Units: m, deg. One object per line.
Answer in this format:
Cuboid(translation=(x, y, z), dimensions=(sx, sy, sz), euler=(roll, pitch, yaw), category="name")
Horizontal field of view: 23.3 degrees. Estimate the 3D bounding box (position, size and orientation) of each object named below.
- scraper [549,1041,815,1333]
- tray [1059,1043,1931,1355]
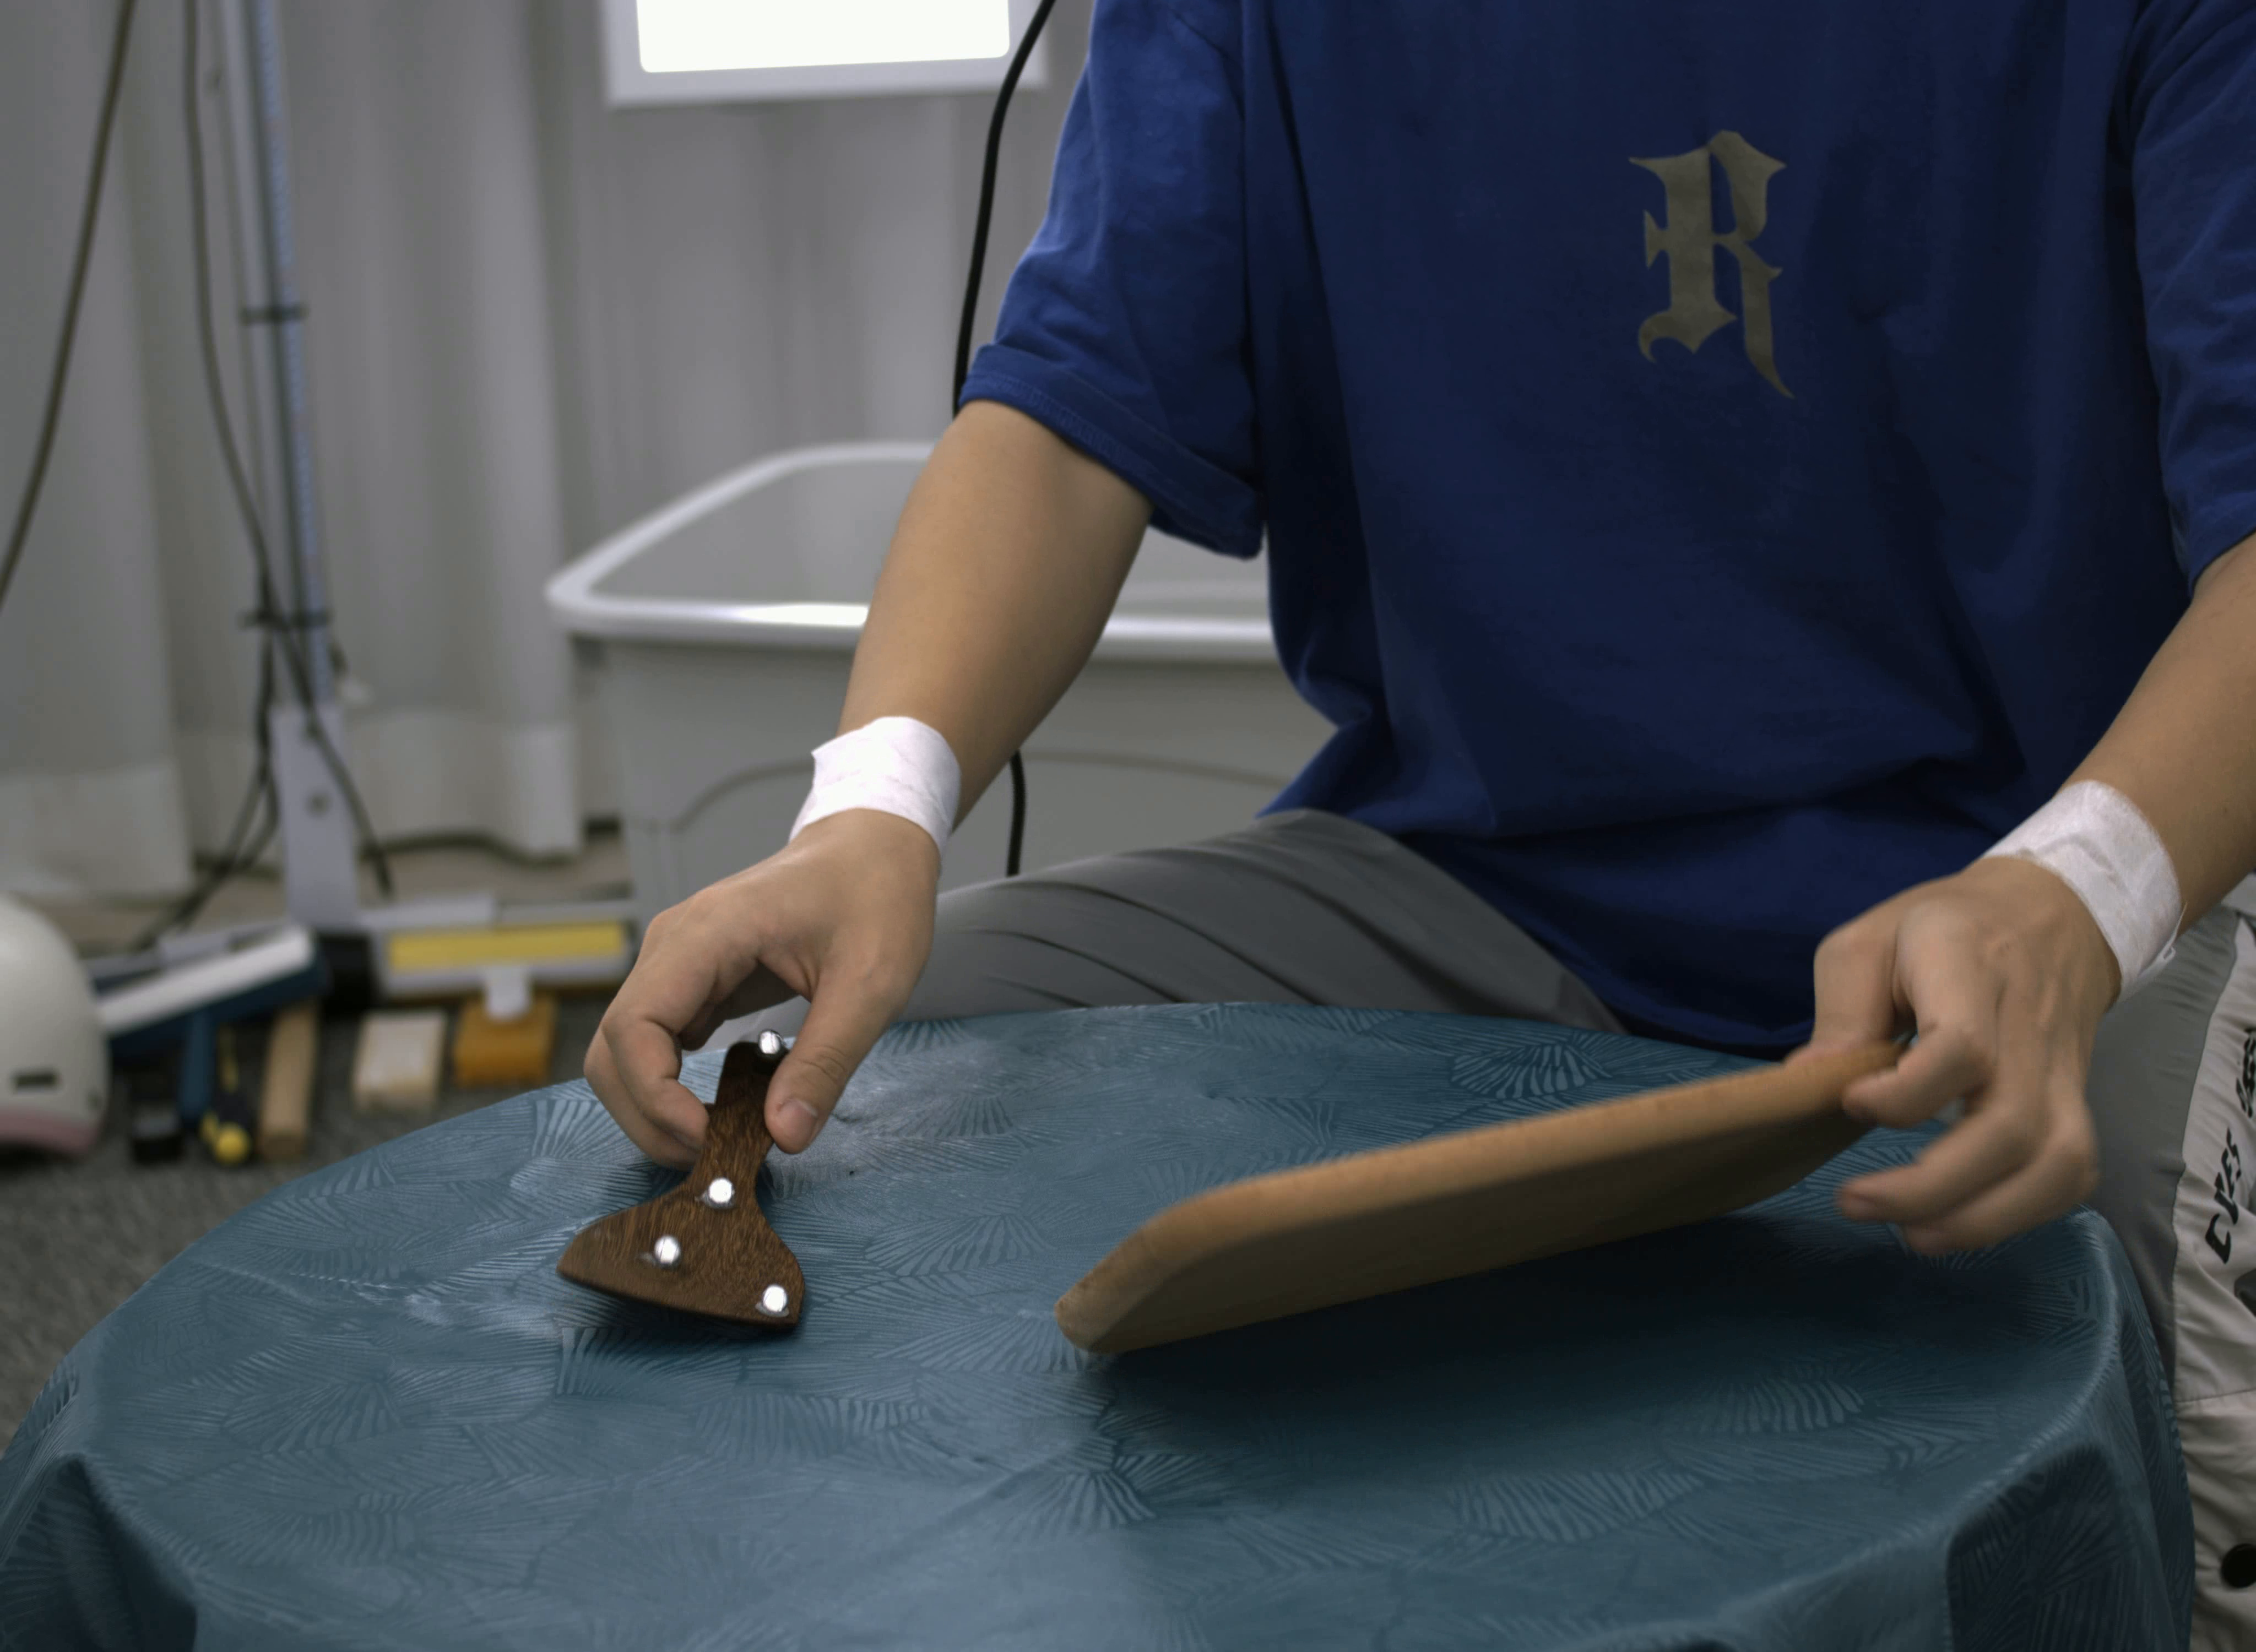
Cuboid(translation=(-0.124, 0.109, 1.689), dimensions=(0.075, 0.011, 0.213), euler=(11, 21, 2), category="scraper")
Cuboid(translation=(0.107, 0.108, 1.566), dimensions=(0.249, 0.023, 0.130), euler=(-10, -13, -24), category="tray")
